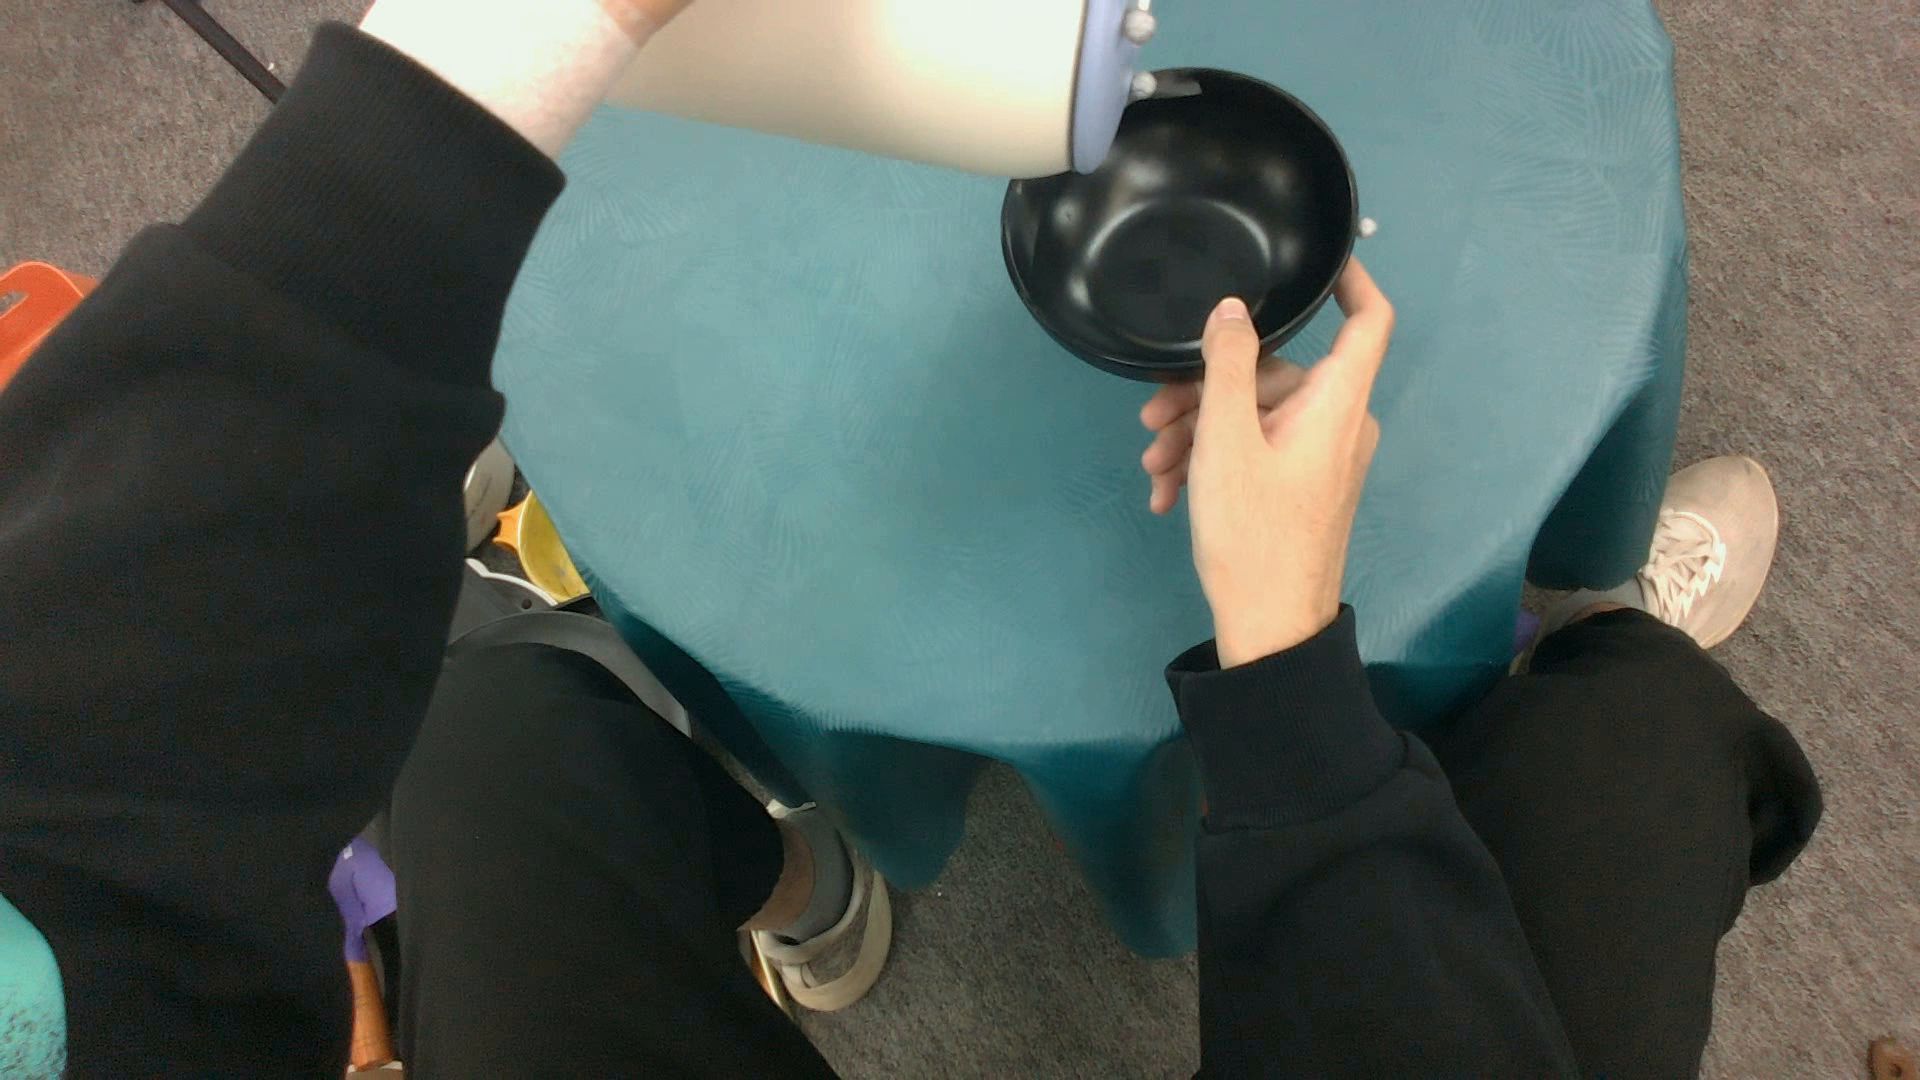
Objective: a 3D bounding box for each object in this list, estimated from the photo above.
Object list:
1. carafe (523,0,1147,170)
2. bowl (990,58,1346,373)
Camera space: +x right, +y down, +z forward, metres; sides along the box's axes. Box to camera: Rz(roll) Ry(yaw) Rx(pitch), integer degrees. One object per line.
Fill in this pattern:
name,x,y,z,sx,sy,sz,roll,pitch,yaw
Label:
carafe,-0.033,-0.193,0.396,0.182,0.191,0.132,11,84,7
bowl,0.084,-0.125,0.562,0.140,0.049,0.140,-3,69,9
